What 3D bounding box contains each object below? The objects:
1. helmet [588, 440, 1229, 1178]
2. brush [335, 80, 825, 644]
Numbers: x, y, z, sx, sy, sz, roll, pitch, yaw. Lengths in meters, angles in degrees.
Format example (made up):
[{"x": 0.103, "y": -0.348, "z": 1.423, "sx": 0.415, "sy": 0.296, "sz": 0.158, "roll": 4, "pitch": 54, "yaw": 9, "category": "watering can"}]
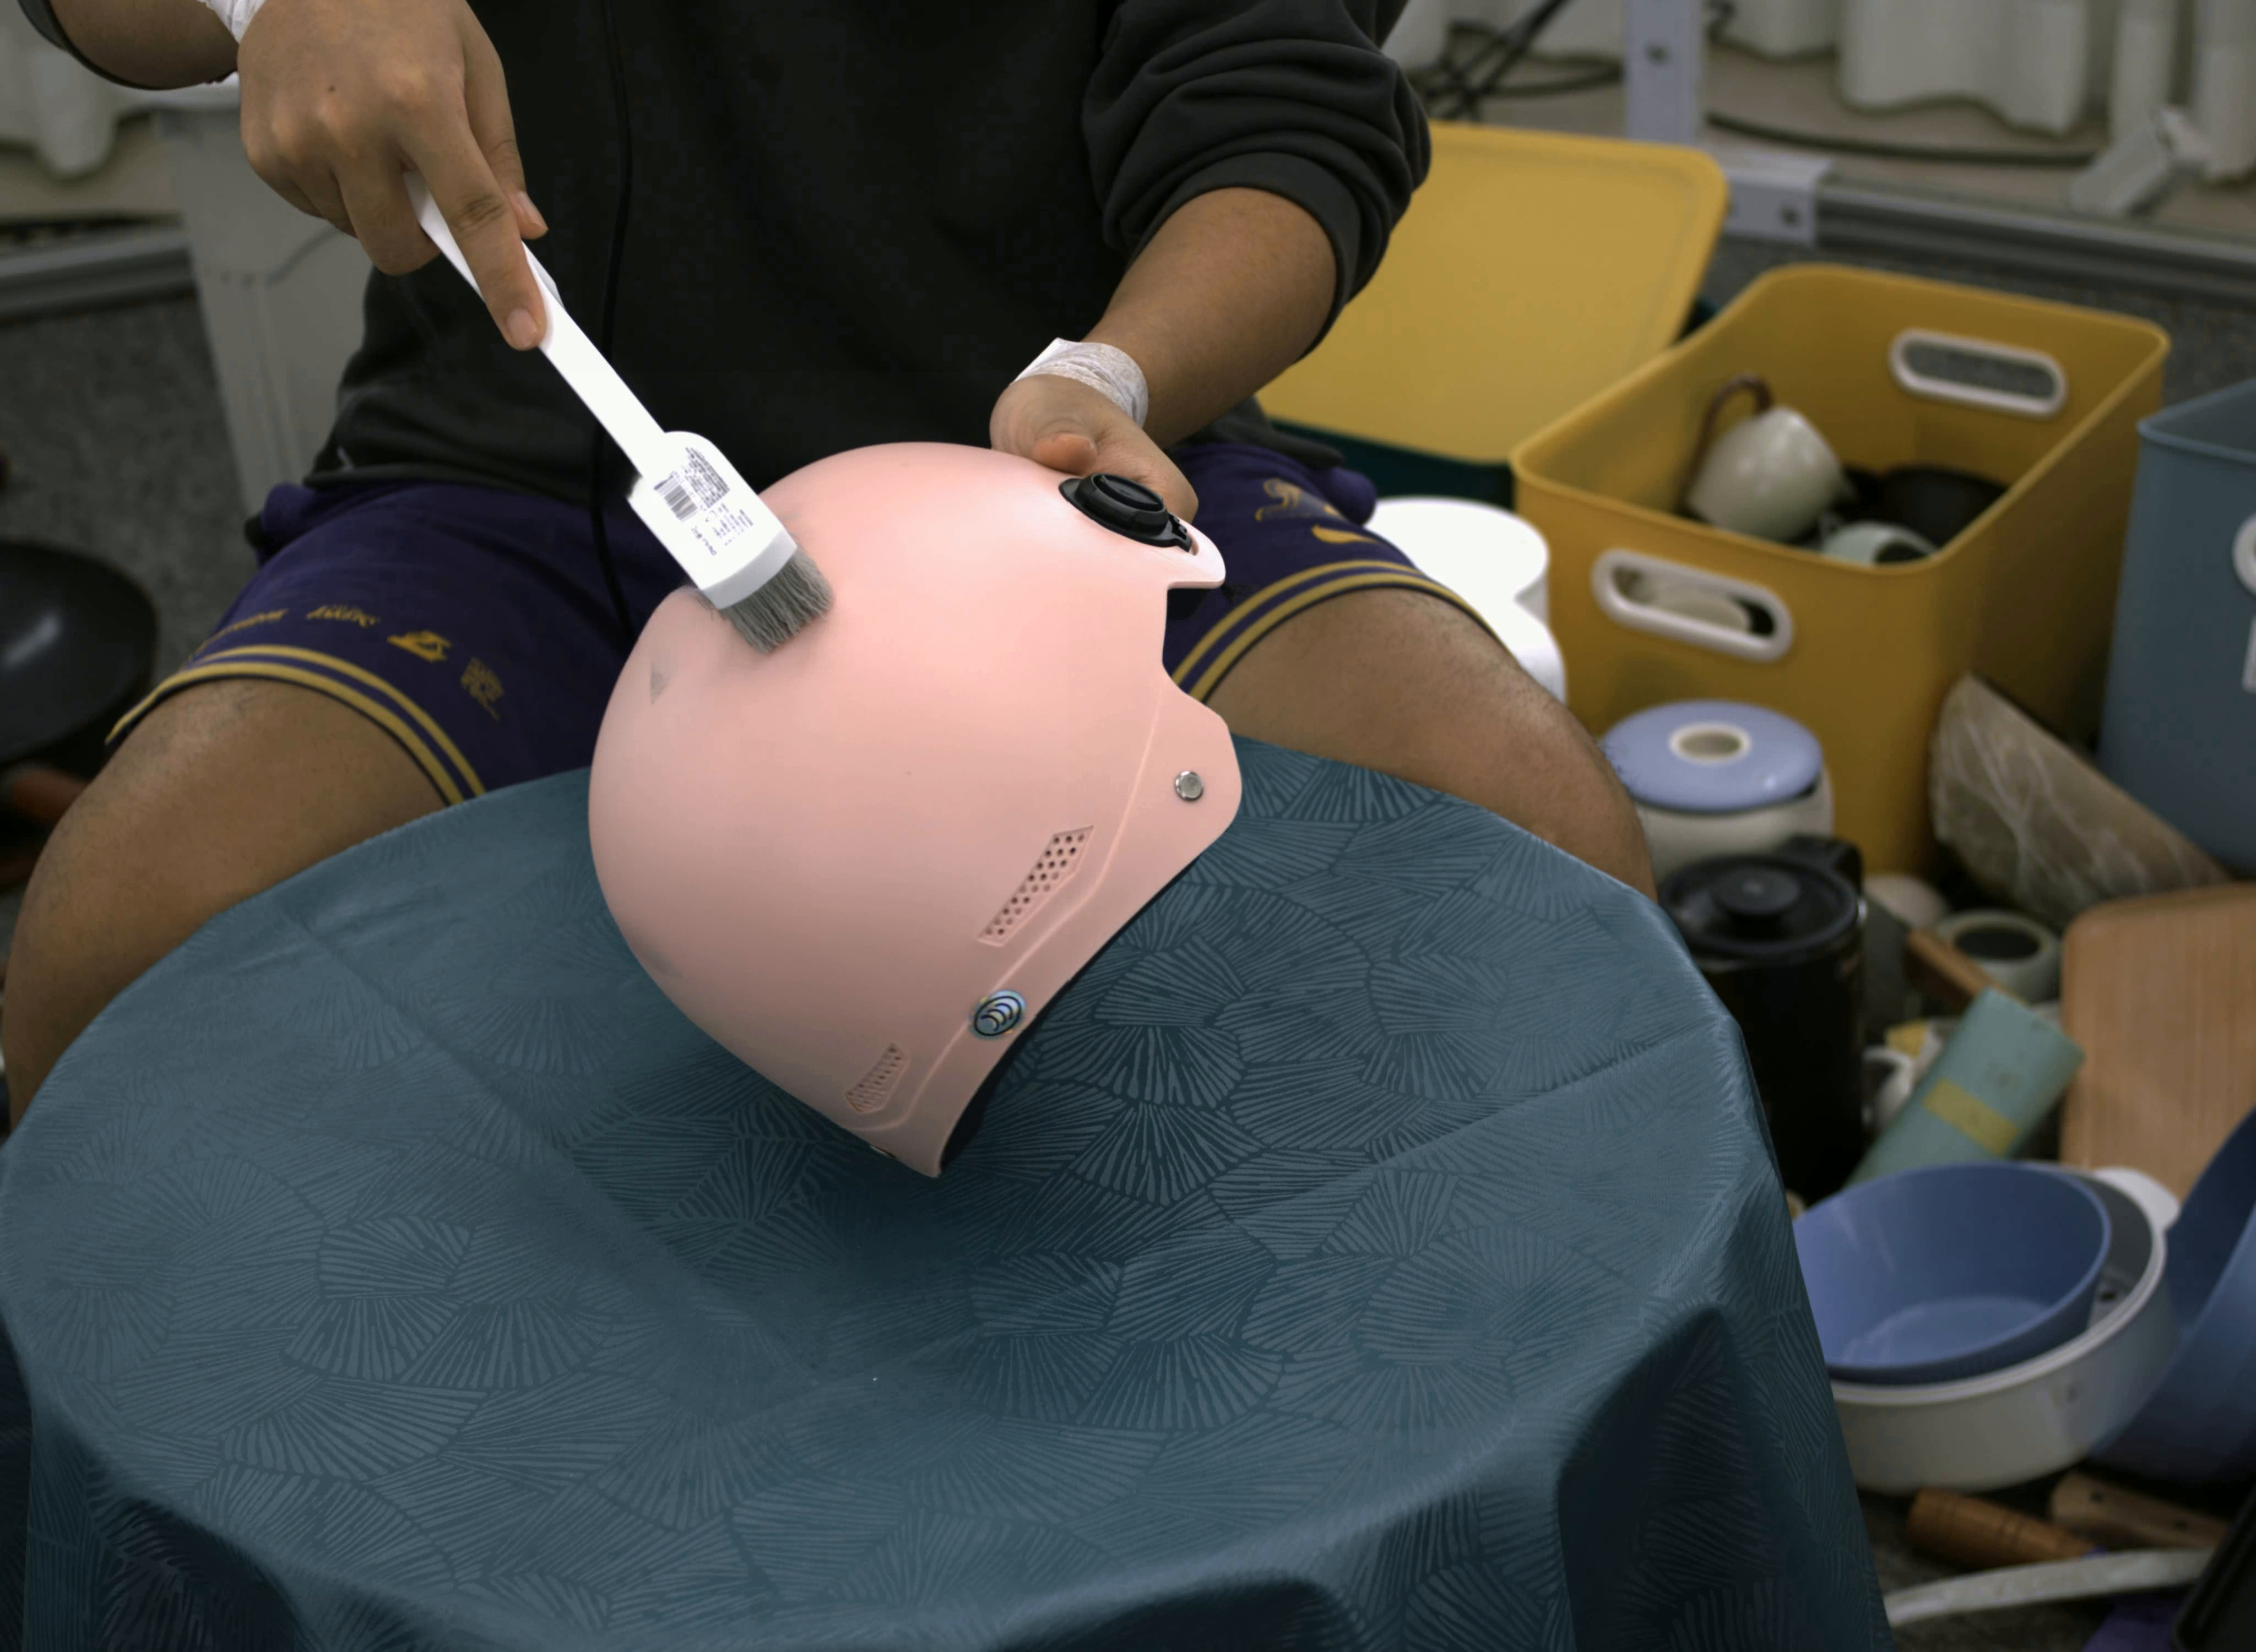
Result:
[{"x": -0.089, "y": -0.030, "z": 1.853, "sx": 0.158, "sy": 0.231, "sz": 0.270, "roll": 29, "pitch": 26, "yaw": -22, "category": "helmet"}, {"x": -0.177, "y": -0.149, "z": 1.806, "sx": 0.034, "sy": 0.050, "sz": 0.245, "roll": -39, "pitch": 63, "yaw": -5, "category": "brush"}]
